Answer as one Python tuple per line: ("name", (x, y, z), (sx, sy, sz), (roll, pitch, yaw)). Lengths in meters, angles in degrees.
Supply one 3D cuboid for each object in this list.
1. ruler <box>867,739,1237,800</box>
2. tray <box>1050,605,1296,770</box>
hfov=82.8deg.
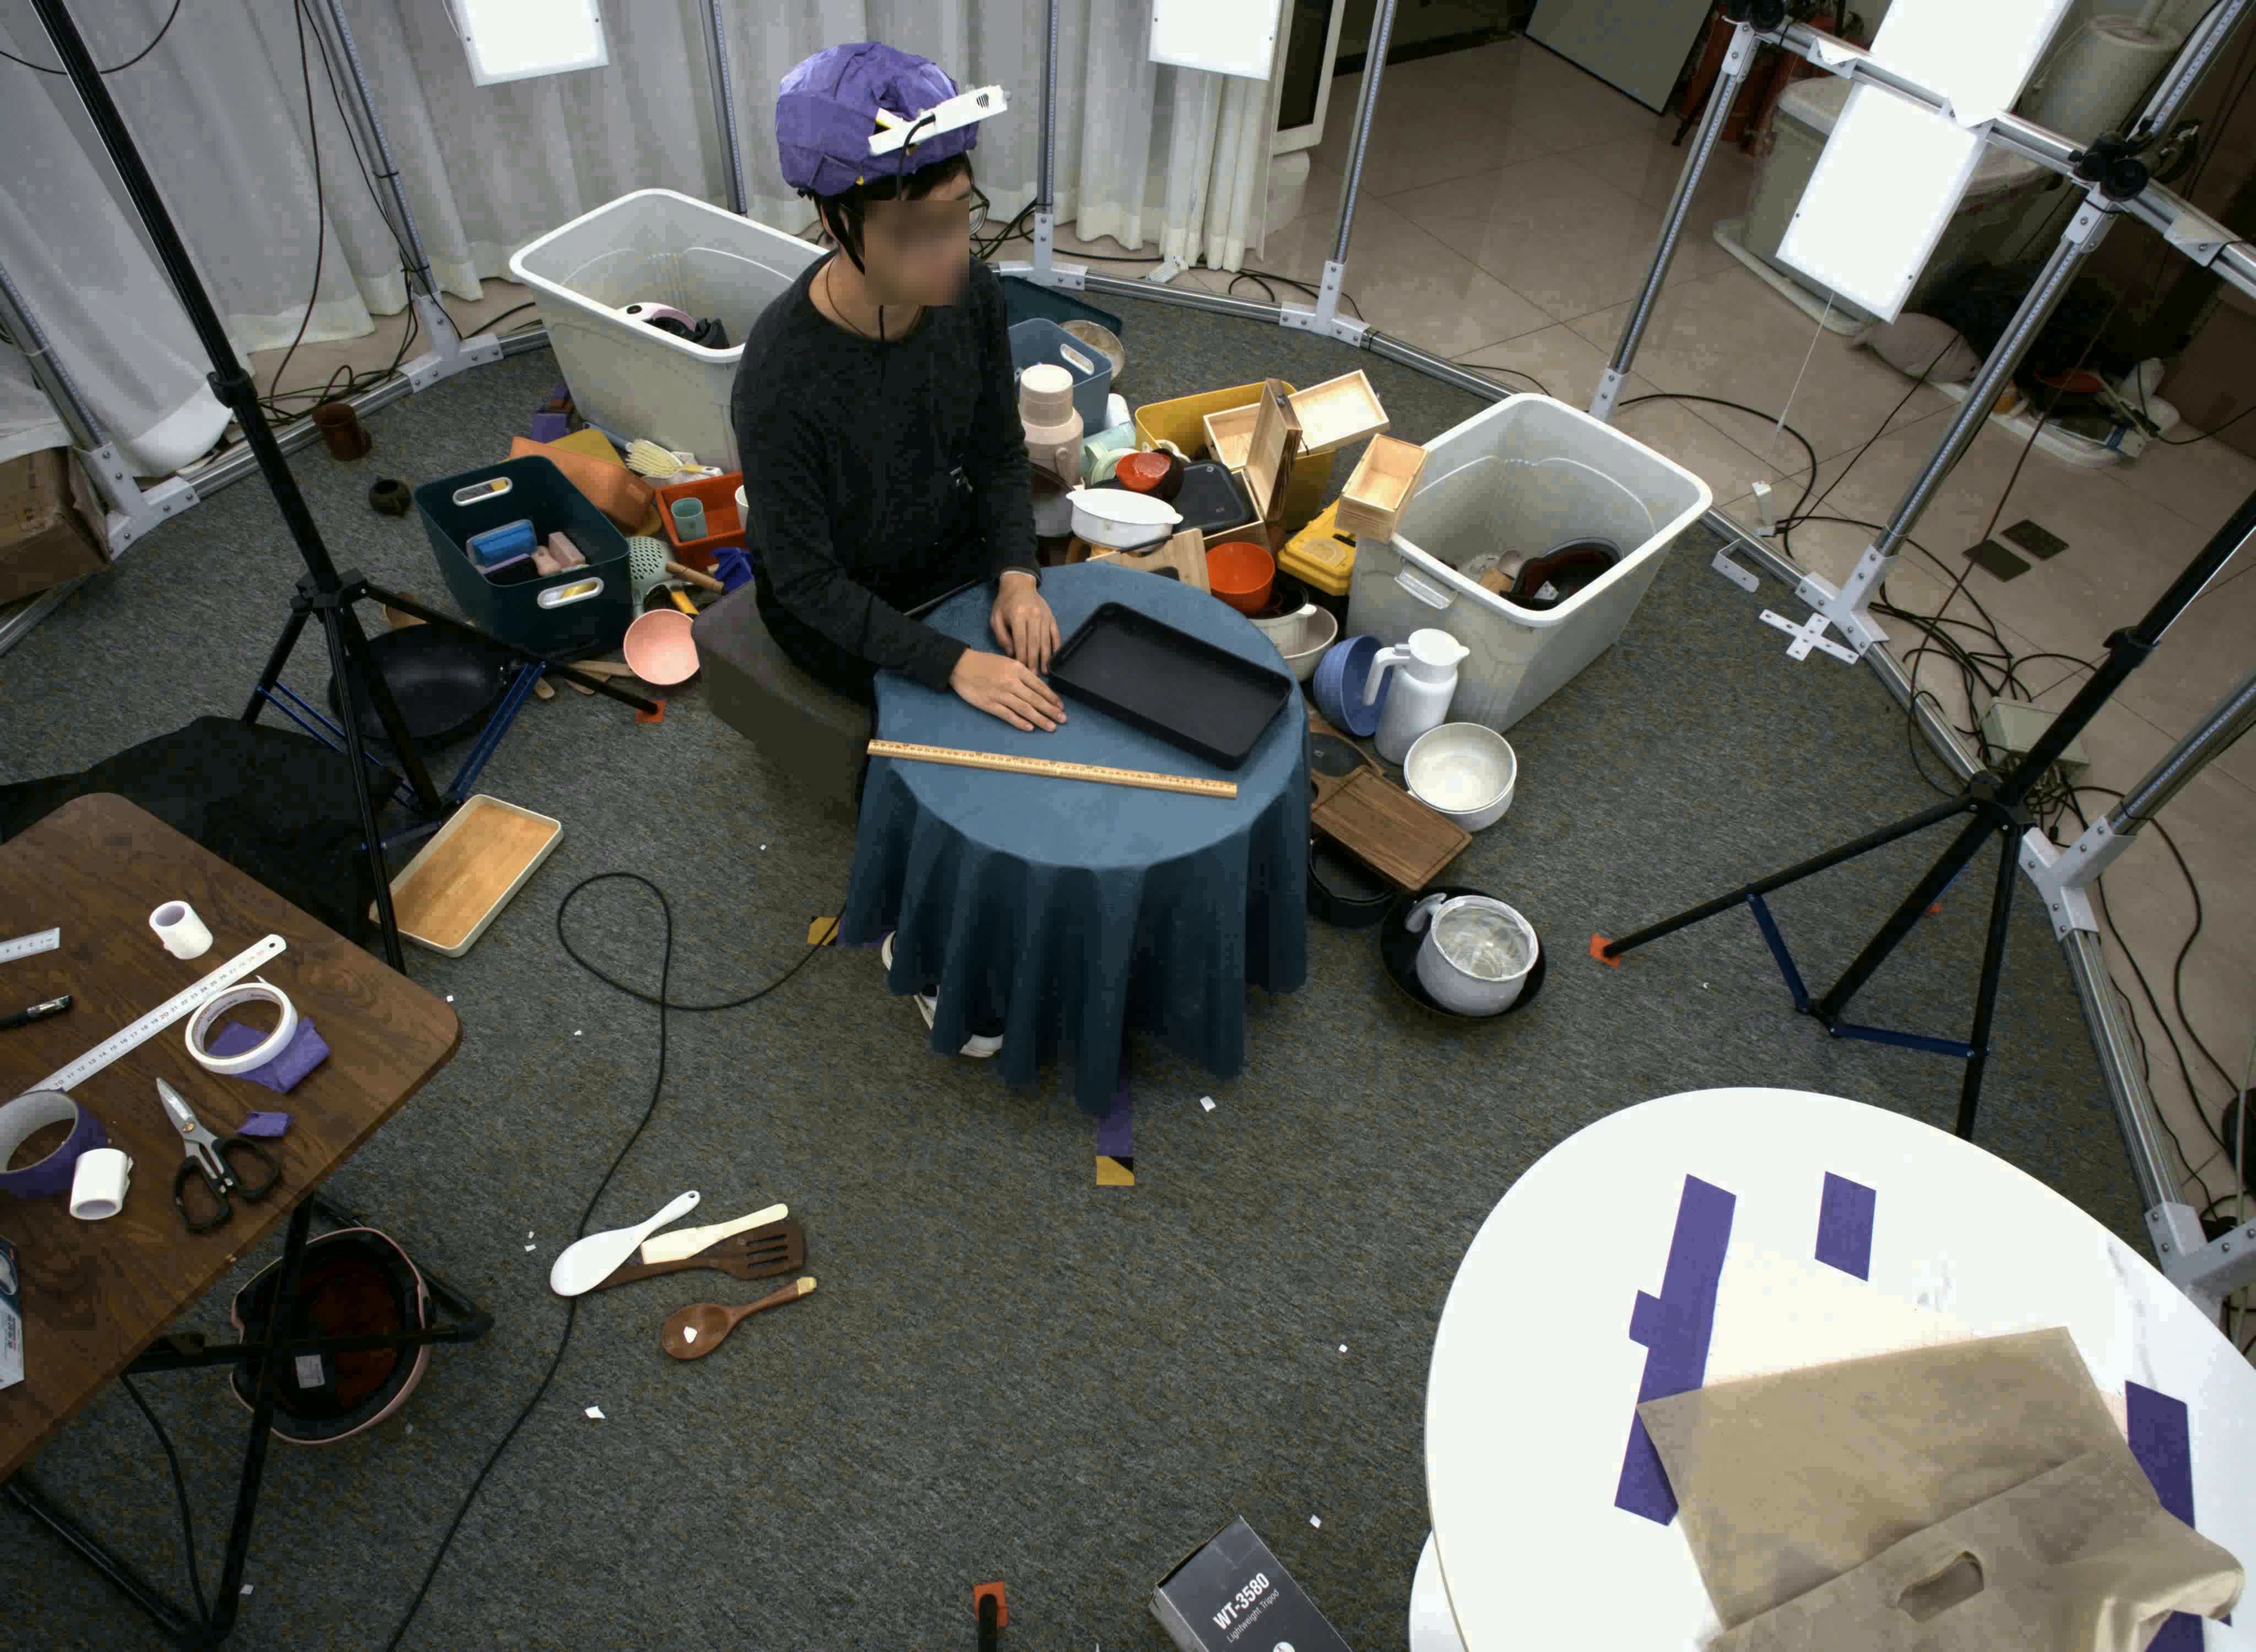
("ruler", (-0.102, -0.077, 1.727), (0.500, 0.006, 0.027), (7, 47, 3))
("tray", (0.063, -0.202, 1.826), (0.320, 0.036, 0.187), (24, 52, 17))
